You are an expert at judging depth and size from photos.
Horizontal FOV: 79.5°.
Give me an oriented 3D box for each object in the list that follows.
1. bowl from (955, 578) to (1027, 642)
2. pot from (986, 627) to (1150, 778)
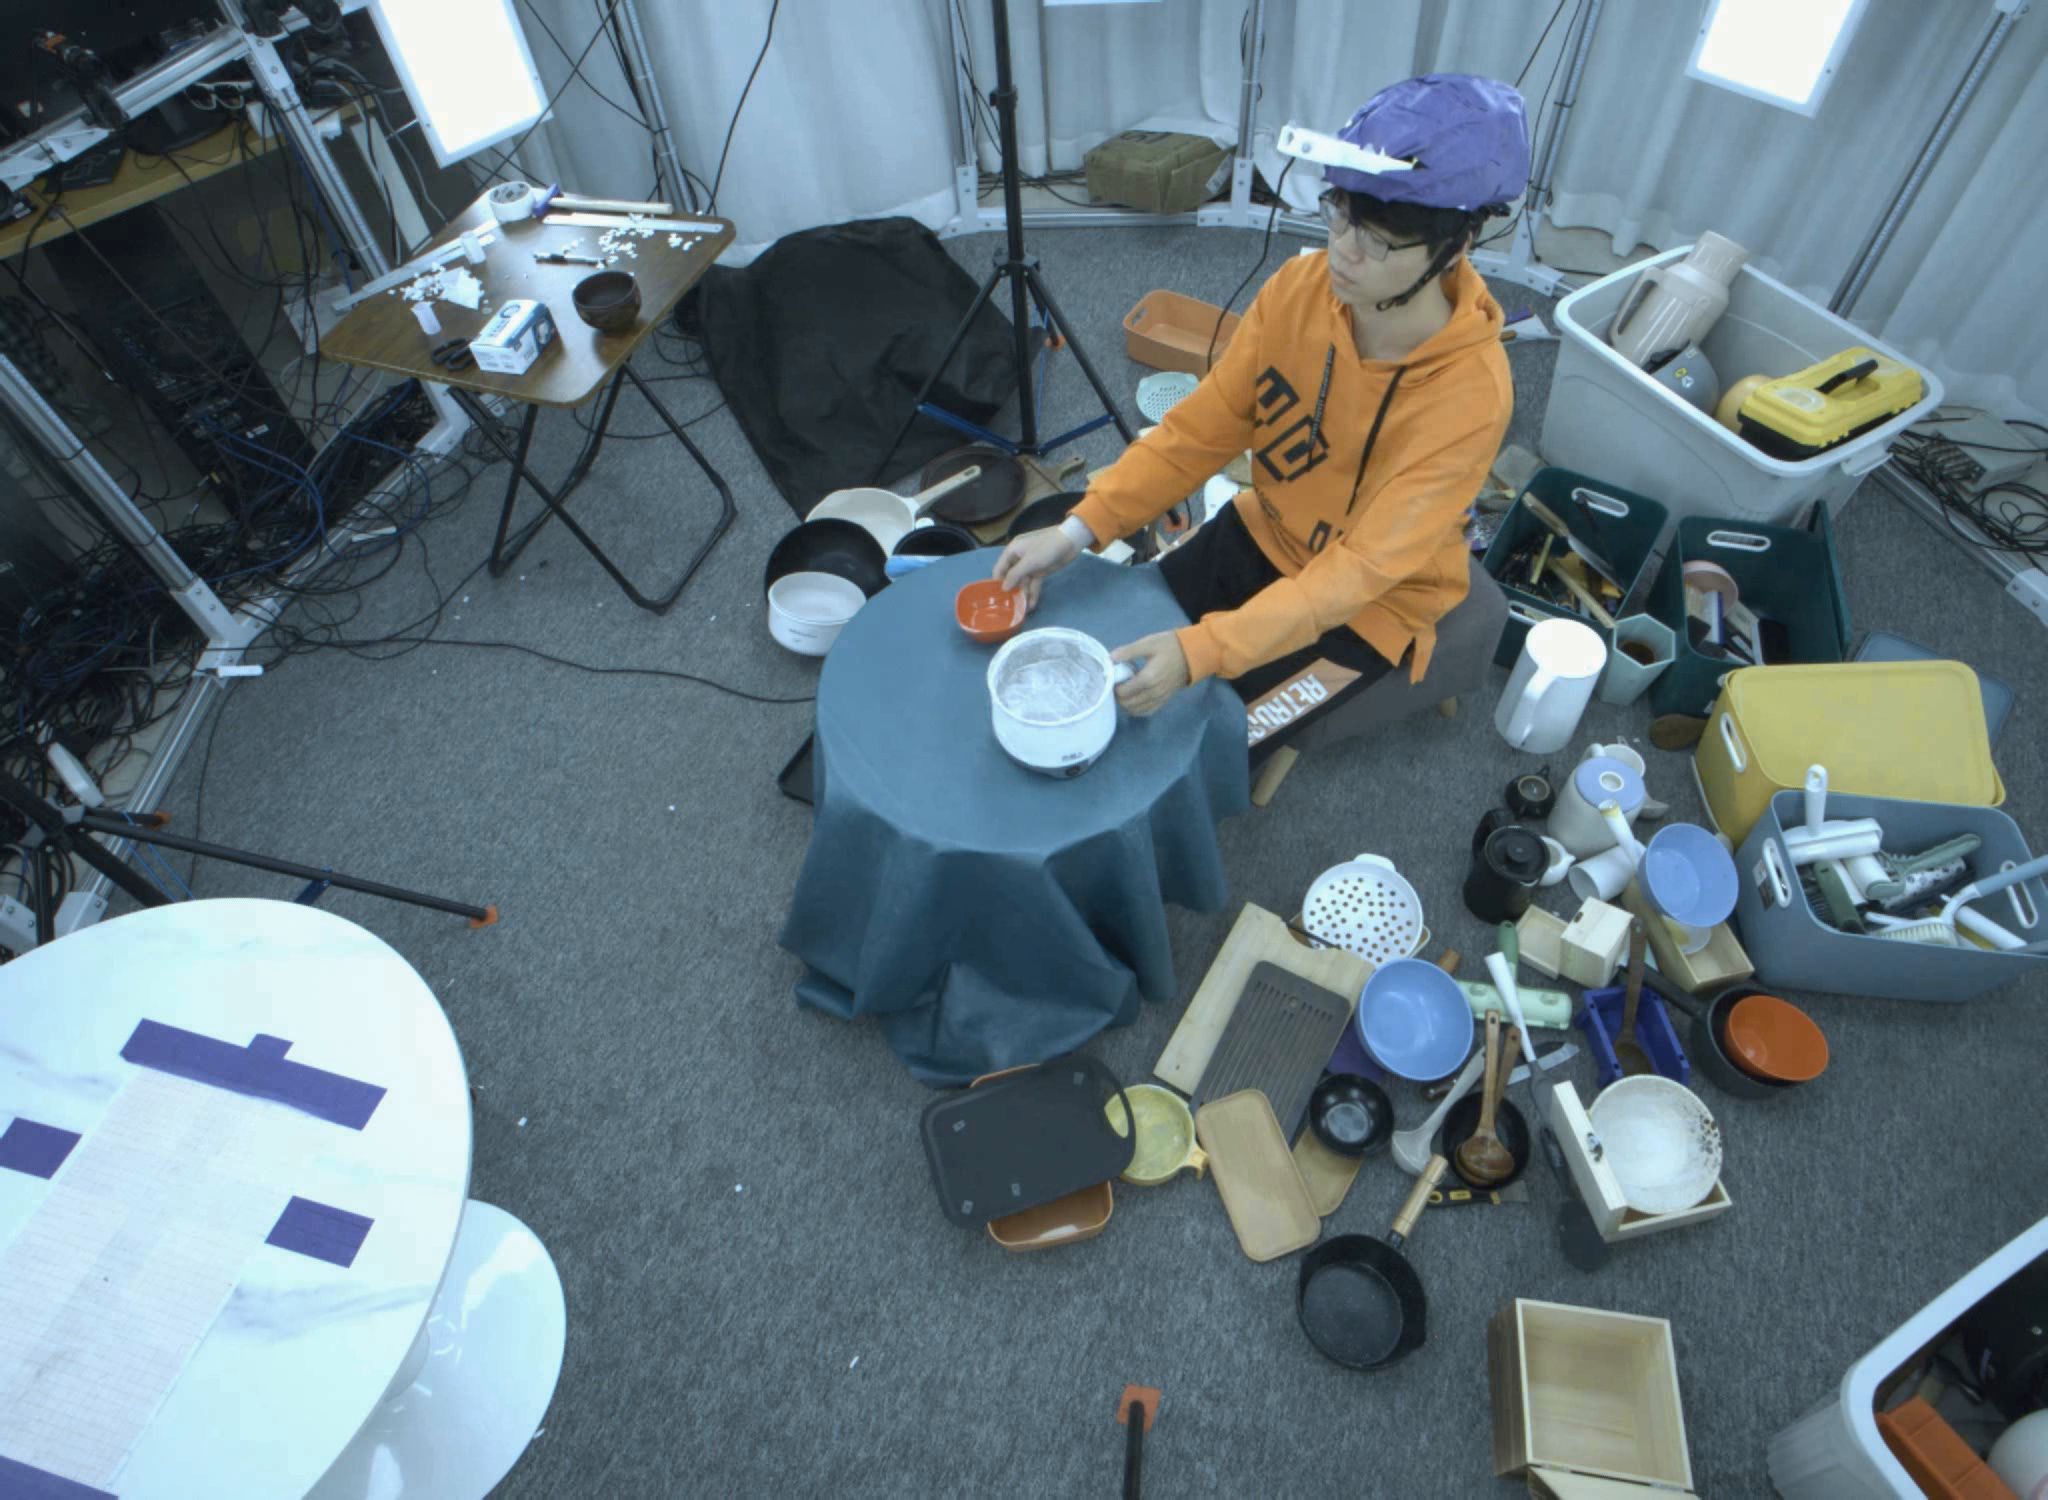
[{"bbox_3d":[-0.050,-0.210,1.906,0.119,0.052,0.117,-1,54,3],"label":"bowl"},{"bbox_3d":[0.067,-0.074,1.752,0.235,0.138,0.175,-17,56,-9],"label":"pot"}]
